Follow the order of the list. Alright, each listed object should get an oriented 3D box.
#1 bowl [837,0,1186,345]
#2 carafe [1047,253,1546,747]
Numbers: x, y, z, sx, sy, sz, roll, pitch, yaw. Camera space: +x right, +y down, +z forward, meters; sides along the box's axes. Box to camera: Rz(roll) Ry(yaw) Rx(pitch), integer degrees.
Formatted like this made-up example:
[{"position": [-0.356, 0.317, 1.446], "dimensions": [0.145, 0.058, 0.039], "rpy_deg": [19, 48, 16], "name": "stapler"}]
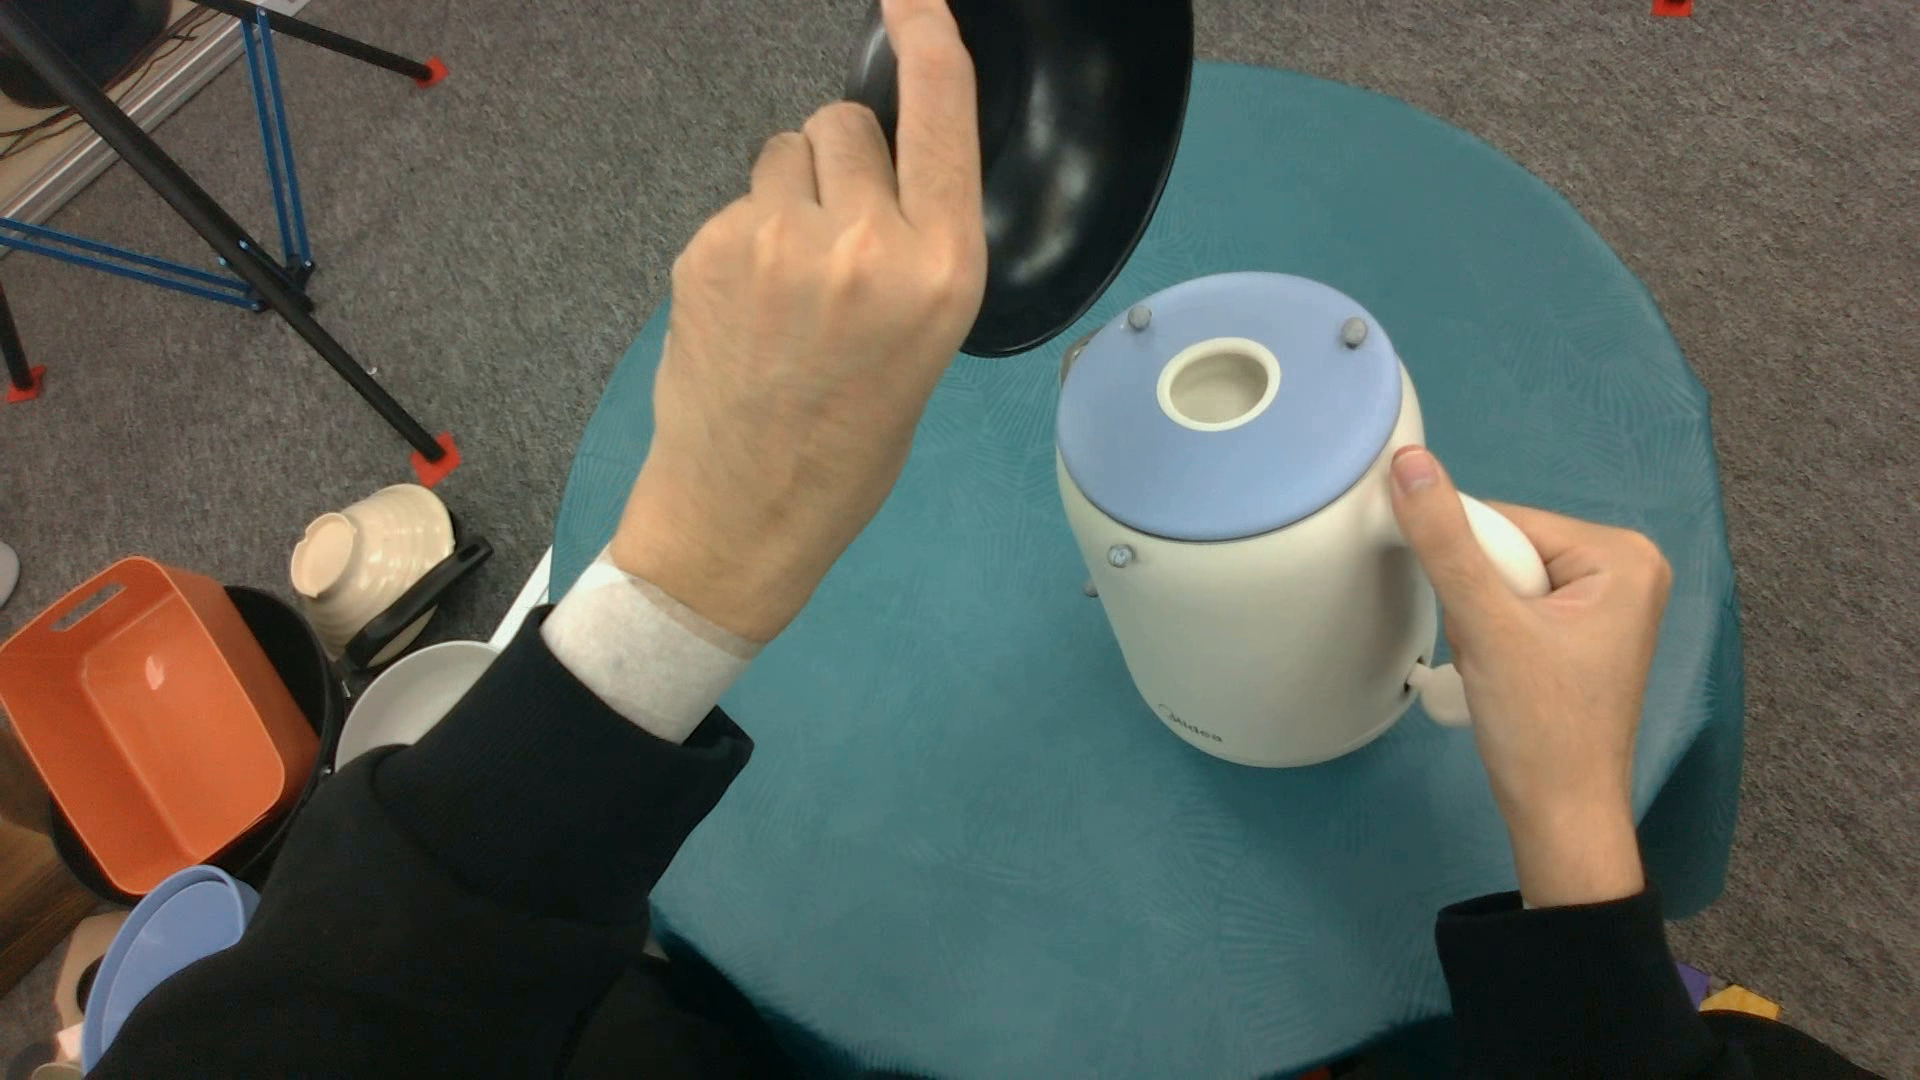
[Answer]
[{"position": [0.009, -0.133, 0.419], "dimensions": [0.050, 0.139, 0.140], "rpy_deg": [31, 73, 30], "name": "bowl"}, {"position": [0.130, -0.001, 0.531], "dimensions": [0.191, 0.182, 0.132], "rpy_deg": [25, 68, 30], "name": "carafe"}]
